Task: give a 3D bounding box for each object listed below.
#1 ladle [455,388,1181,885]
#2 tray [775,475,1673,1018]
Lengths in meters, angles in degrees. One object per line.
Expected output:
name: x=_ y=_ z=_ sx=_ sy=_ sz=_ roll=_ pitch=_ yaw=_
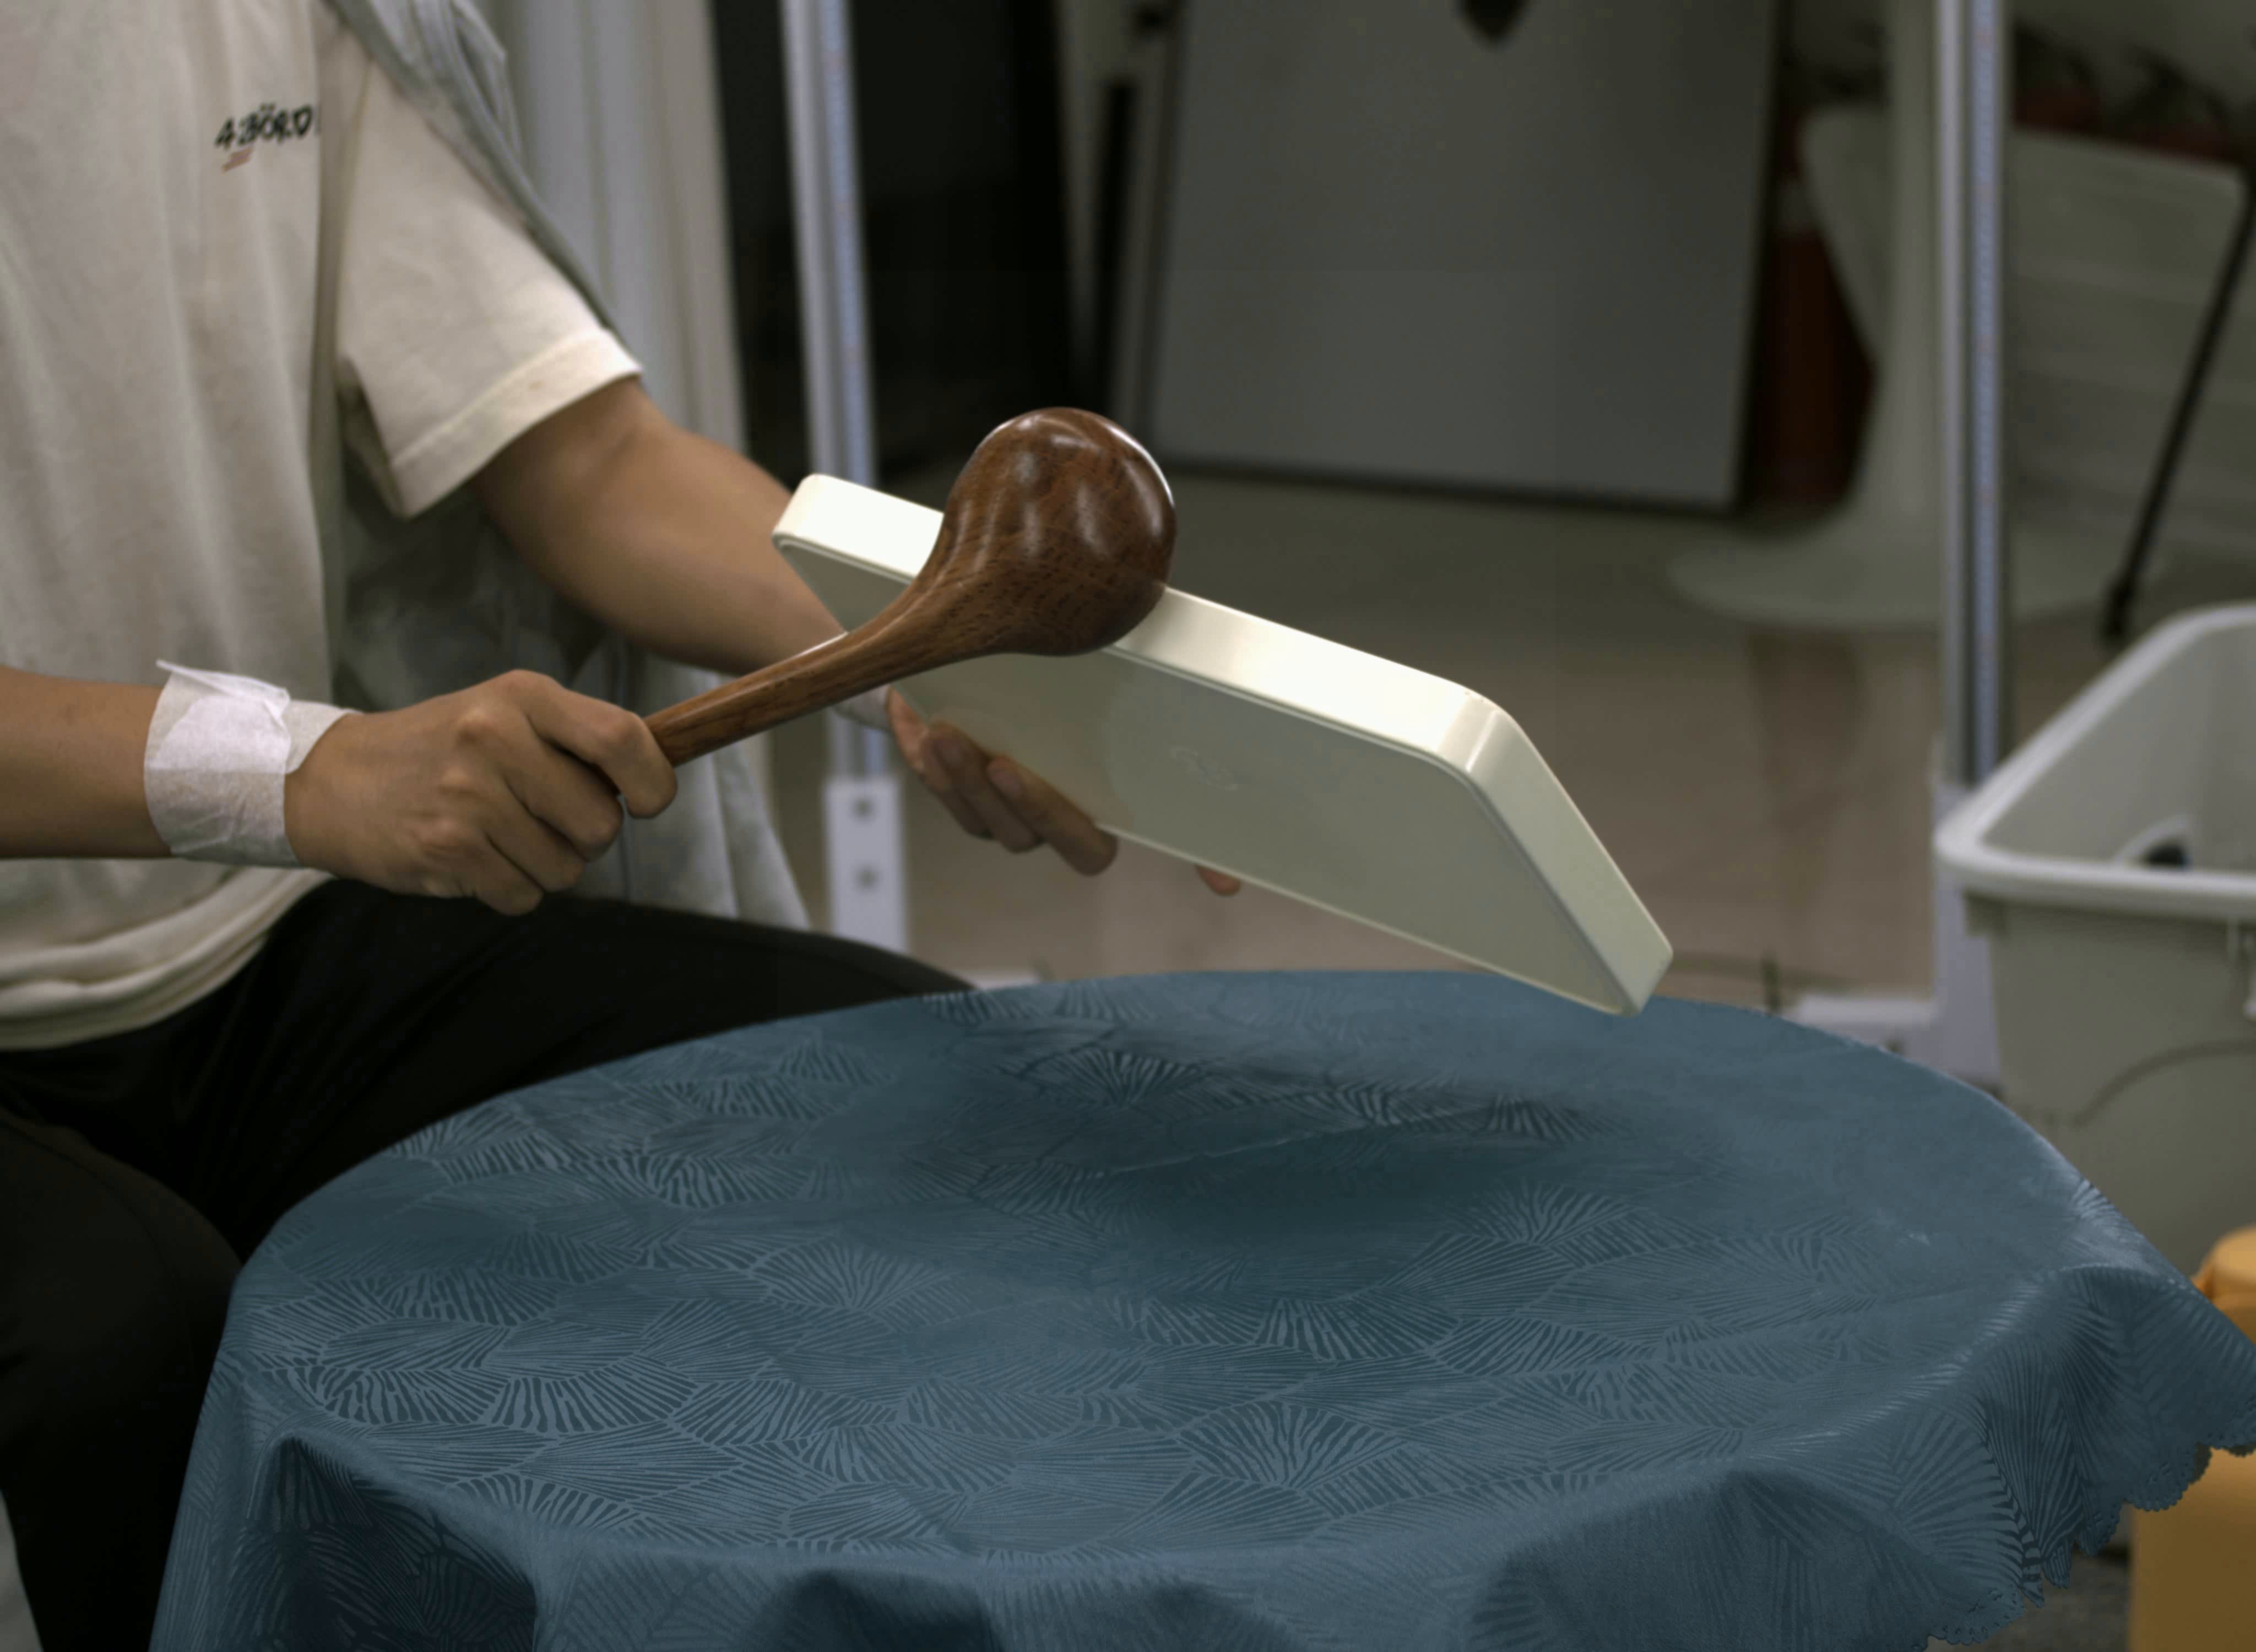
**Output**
ladle: x=-0.104 y=-0.058 z=1.772 sx=0.275 sy=0.082 sz=0.076 roll=-25 pitch=15 yaw=29
tray: x=0.031 y=-0.026 z=1.825 sx=0.302 sy=0.027 sz=0.189 roll=20 pitch=-19 yaw=36
